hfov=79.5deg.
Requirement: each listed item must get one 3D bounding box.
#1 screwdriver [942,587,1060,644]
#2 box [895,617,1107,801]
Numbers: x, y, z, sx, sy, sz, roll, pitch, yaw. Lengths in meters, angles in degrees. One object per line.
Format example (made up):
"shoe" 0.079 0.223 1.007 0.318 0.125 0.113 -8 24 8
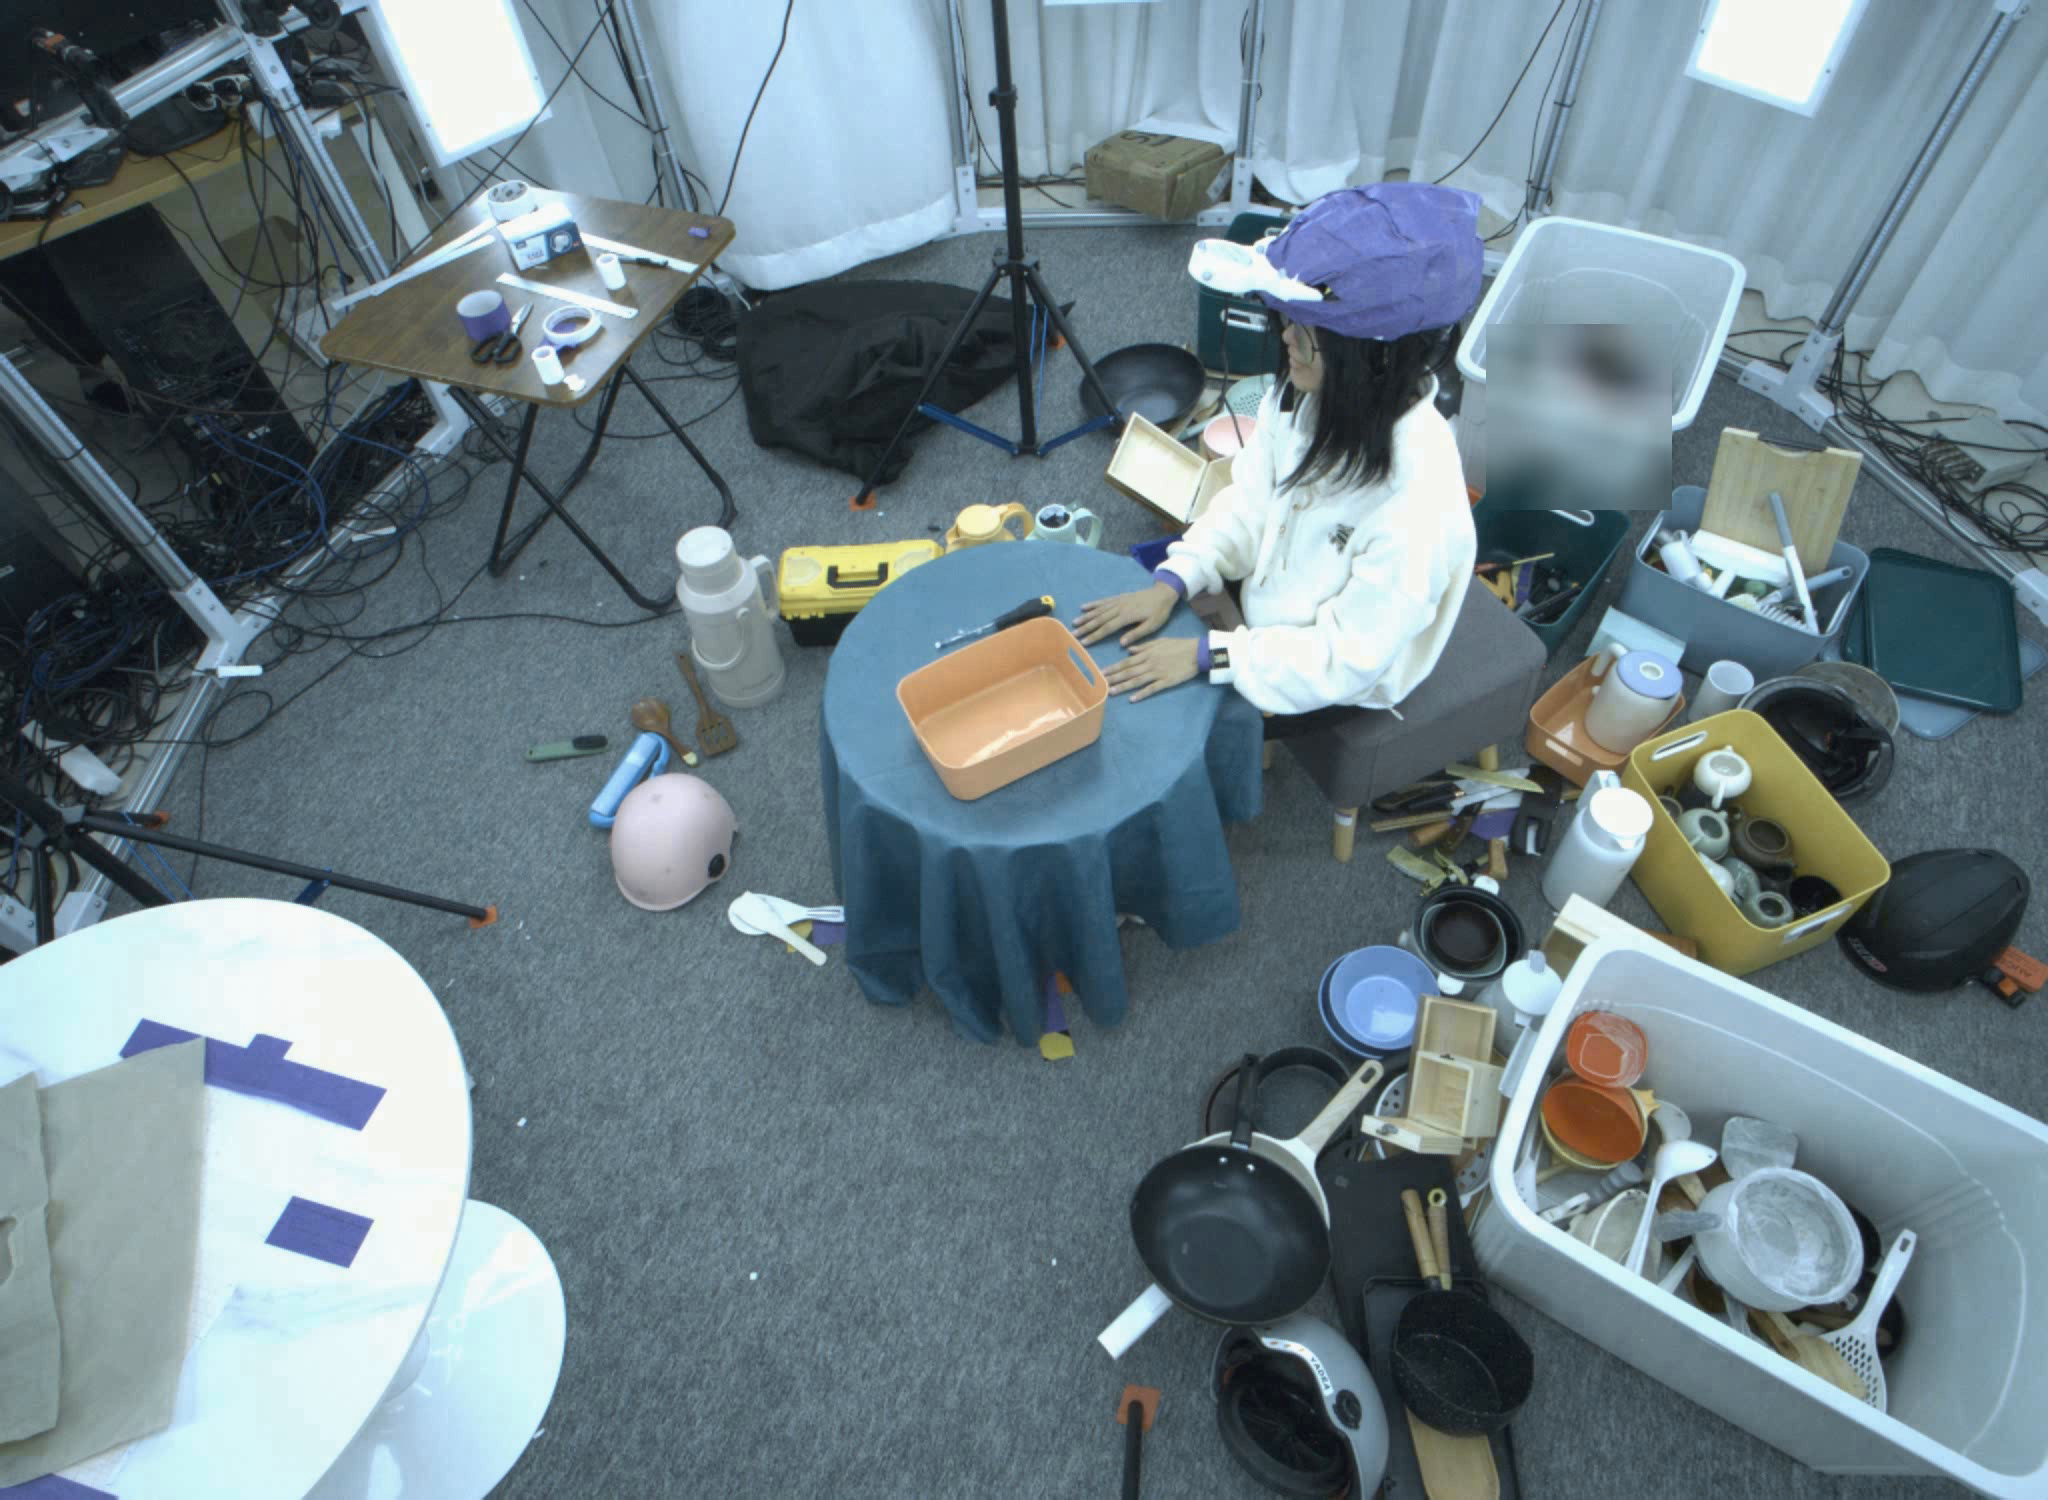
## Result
"screwdriver" -0.035 -0.203 1.904 0.198 0.032 0.031 -27 58 -6
"box" -0.028 -0.055 1.764 0.275 0.104 0.195 -26 57 -15
